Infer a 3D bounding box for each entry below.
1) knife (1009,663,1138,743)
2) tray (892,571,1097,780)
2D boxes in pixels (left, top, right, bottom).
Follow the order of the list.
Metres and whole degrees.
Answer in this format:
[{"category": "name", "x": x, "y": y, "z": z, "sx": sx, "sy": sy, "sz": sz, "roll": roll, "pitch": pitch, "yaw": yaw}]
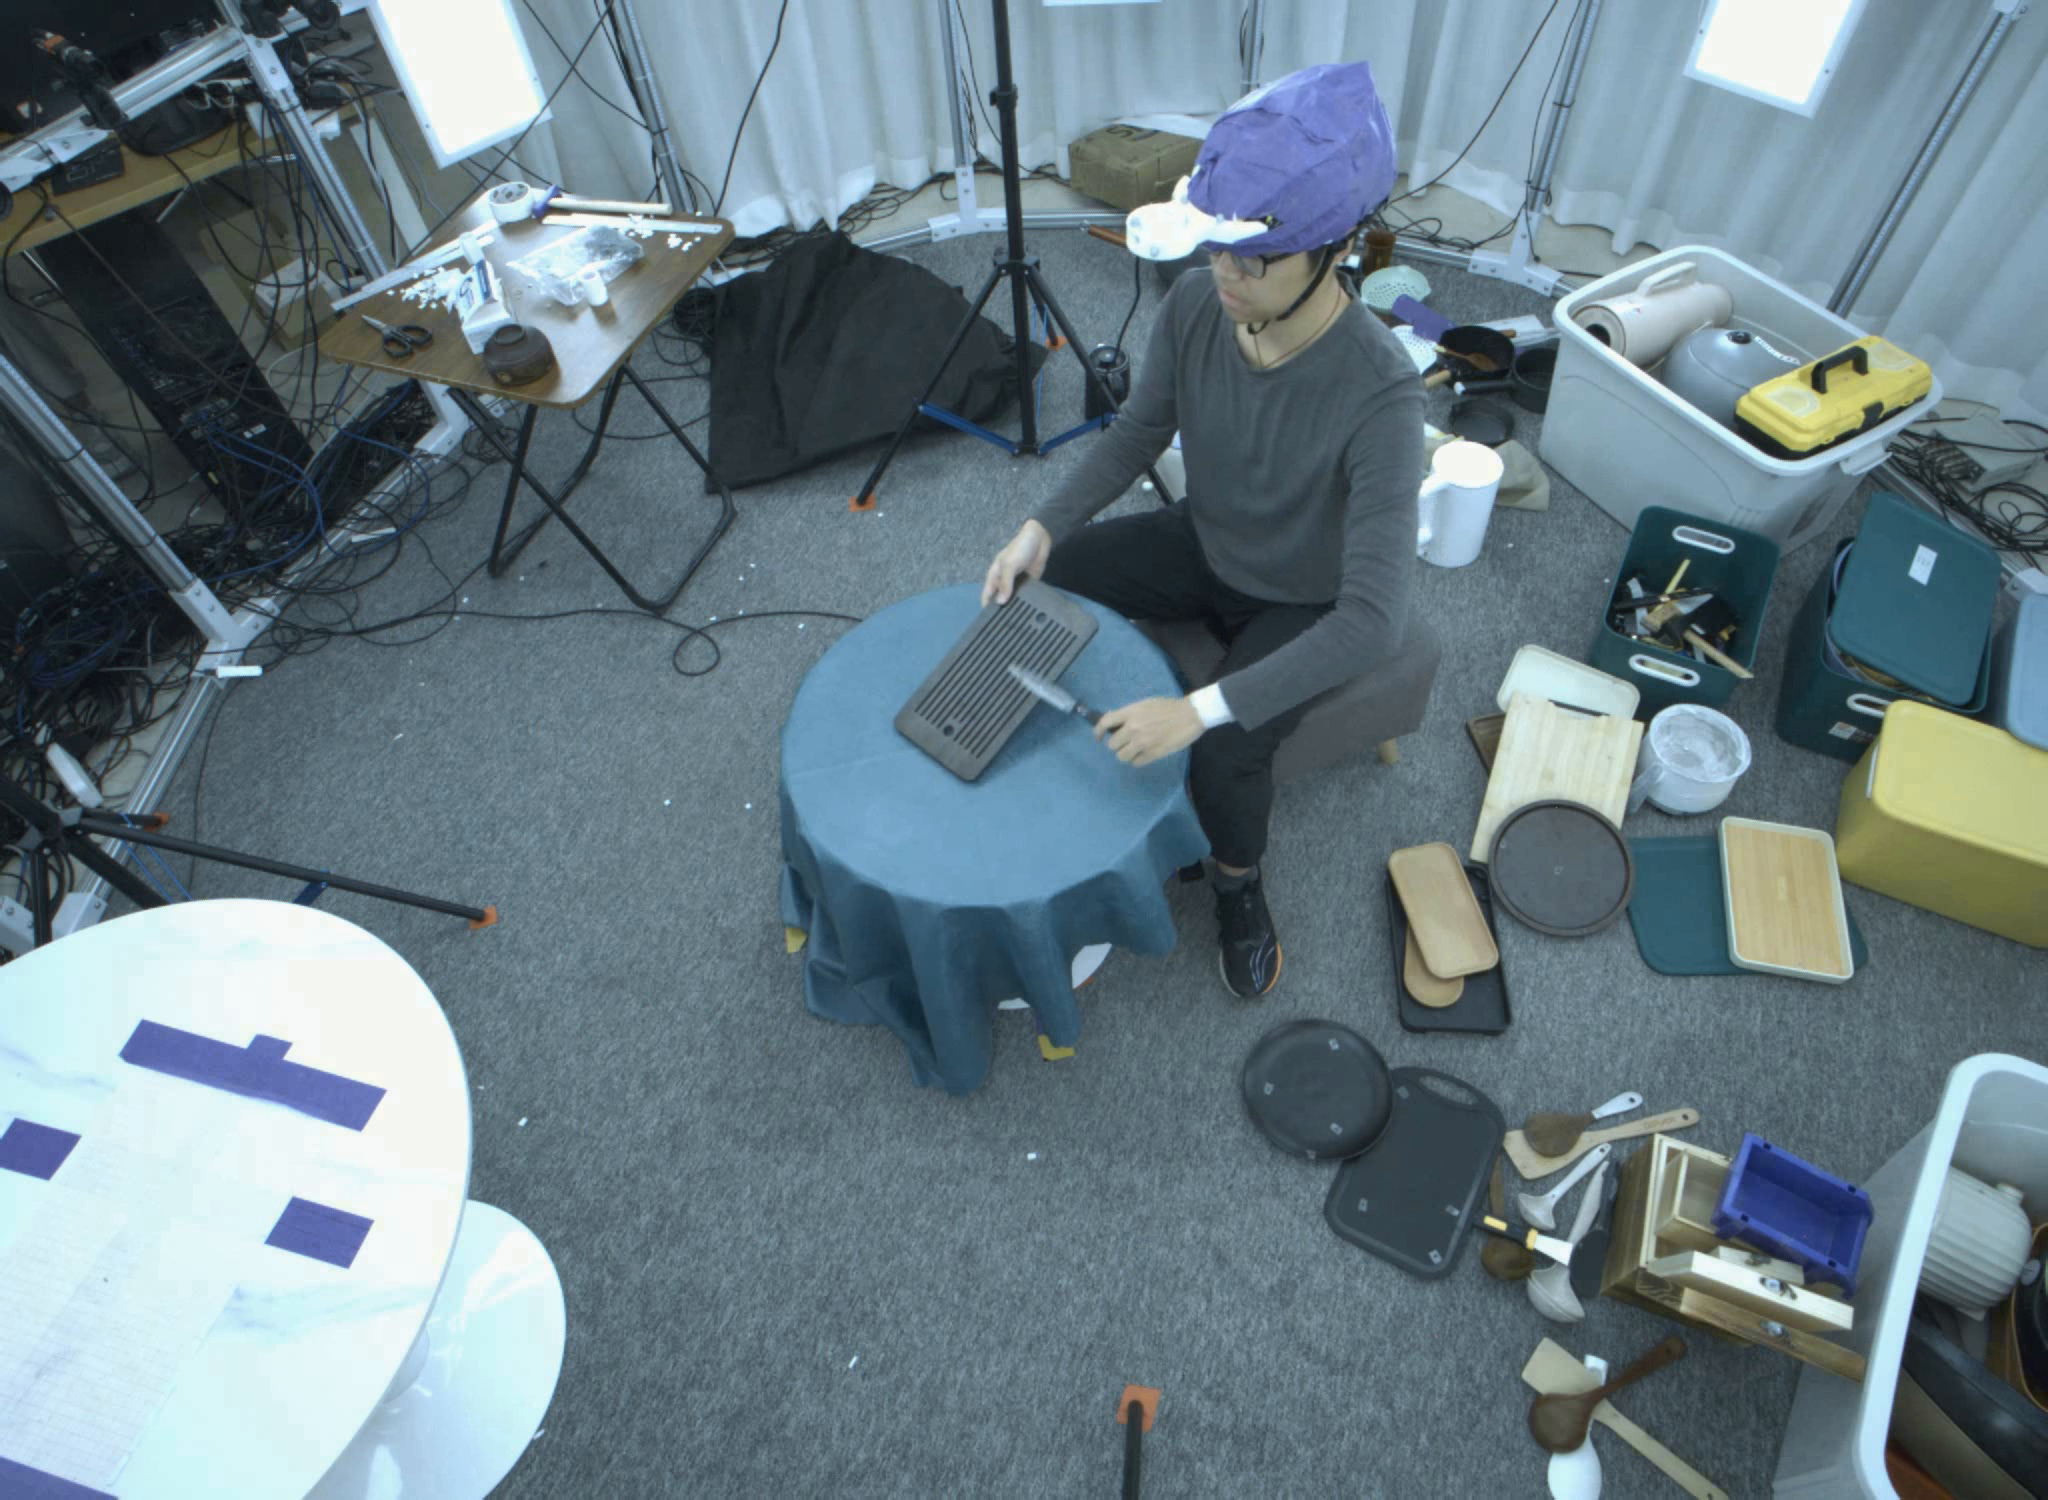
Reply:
[{"category": "knife", "x": 0.069, "y": -0.073, "z": 1.754, "sx": 0.234, "sy": 0.016, "sz": 0.024, "roll": 32, "pitch": 93, "yaw": 25}, {"category": "tray", "x": -0.044, "y": -0.113, "z": 1.811, "sx": 0.167, "sy": 0.019, "sz": 0.306, "roll": 36, "pitch": 82, "yaw": 23}]
